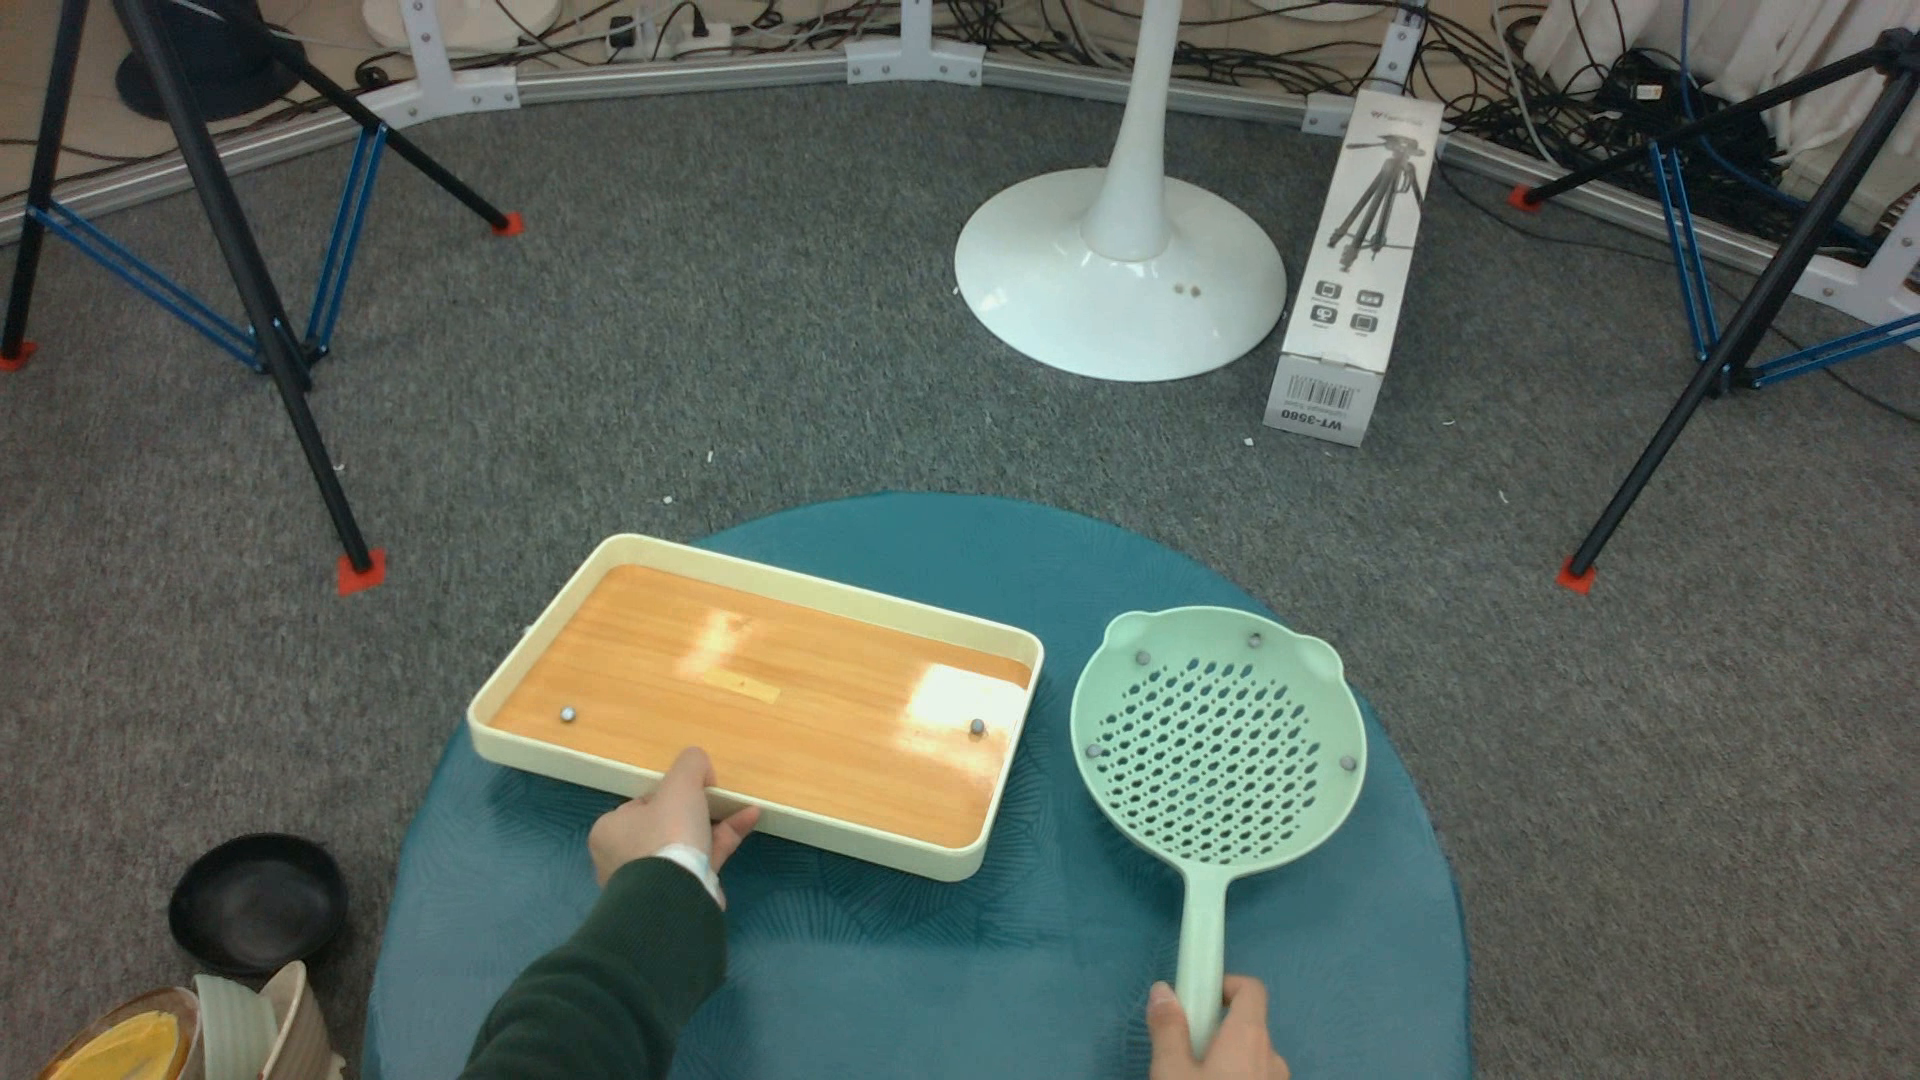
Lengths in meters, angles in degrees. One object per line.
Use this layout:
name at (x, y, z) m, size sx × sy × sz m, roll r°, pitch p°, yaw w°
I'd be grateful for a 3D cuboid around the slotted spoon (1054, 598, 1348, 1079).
slotted spoon at (0.122, 0.187, 0.743) m, size 0.169 × 0.075 × 0.360 m, roll 7°, pitch 45°, yaw 6°

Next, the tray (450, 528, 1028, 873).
tray at (-0.122, 0.085, 0.818) m, size 0.300 × 0.027 × 0.192 m, roll 13°, pitch 37°, yaw 7°
